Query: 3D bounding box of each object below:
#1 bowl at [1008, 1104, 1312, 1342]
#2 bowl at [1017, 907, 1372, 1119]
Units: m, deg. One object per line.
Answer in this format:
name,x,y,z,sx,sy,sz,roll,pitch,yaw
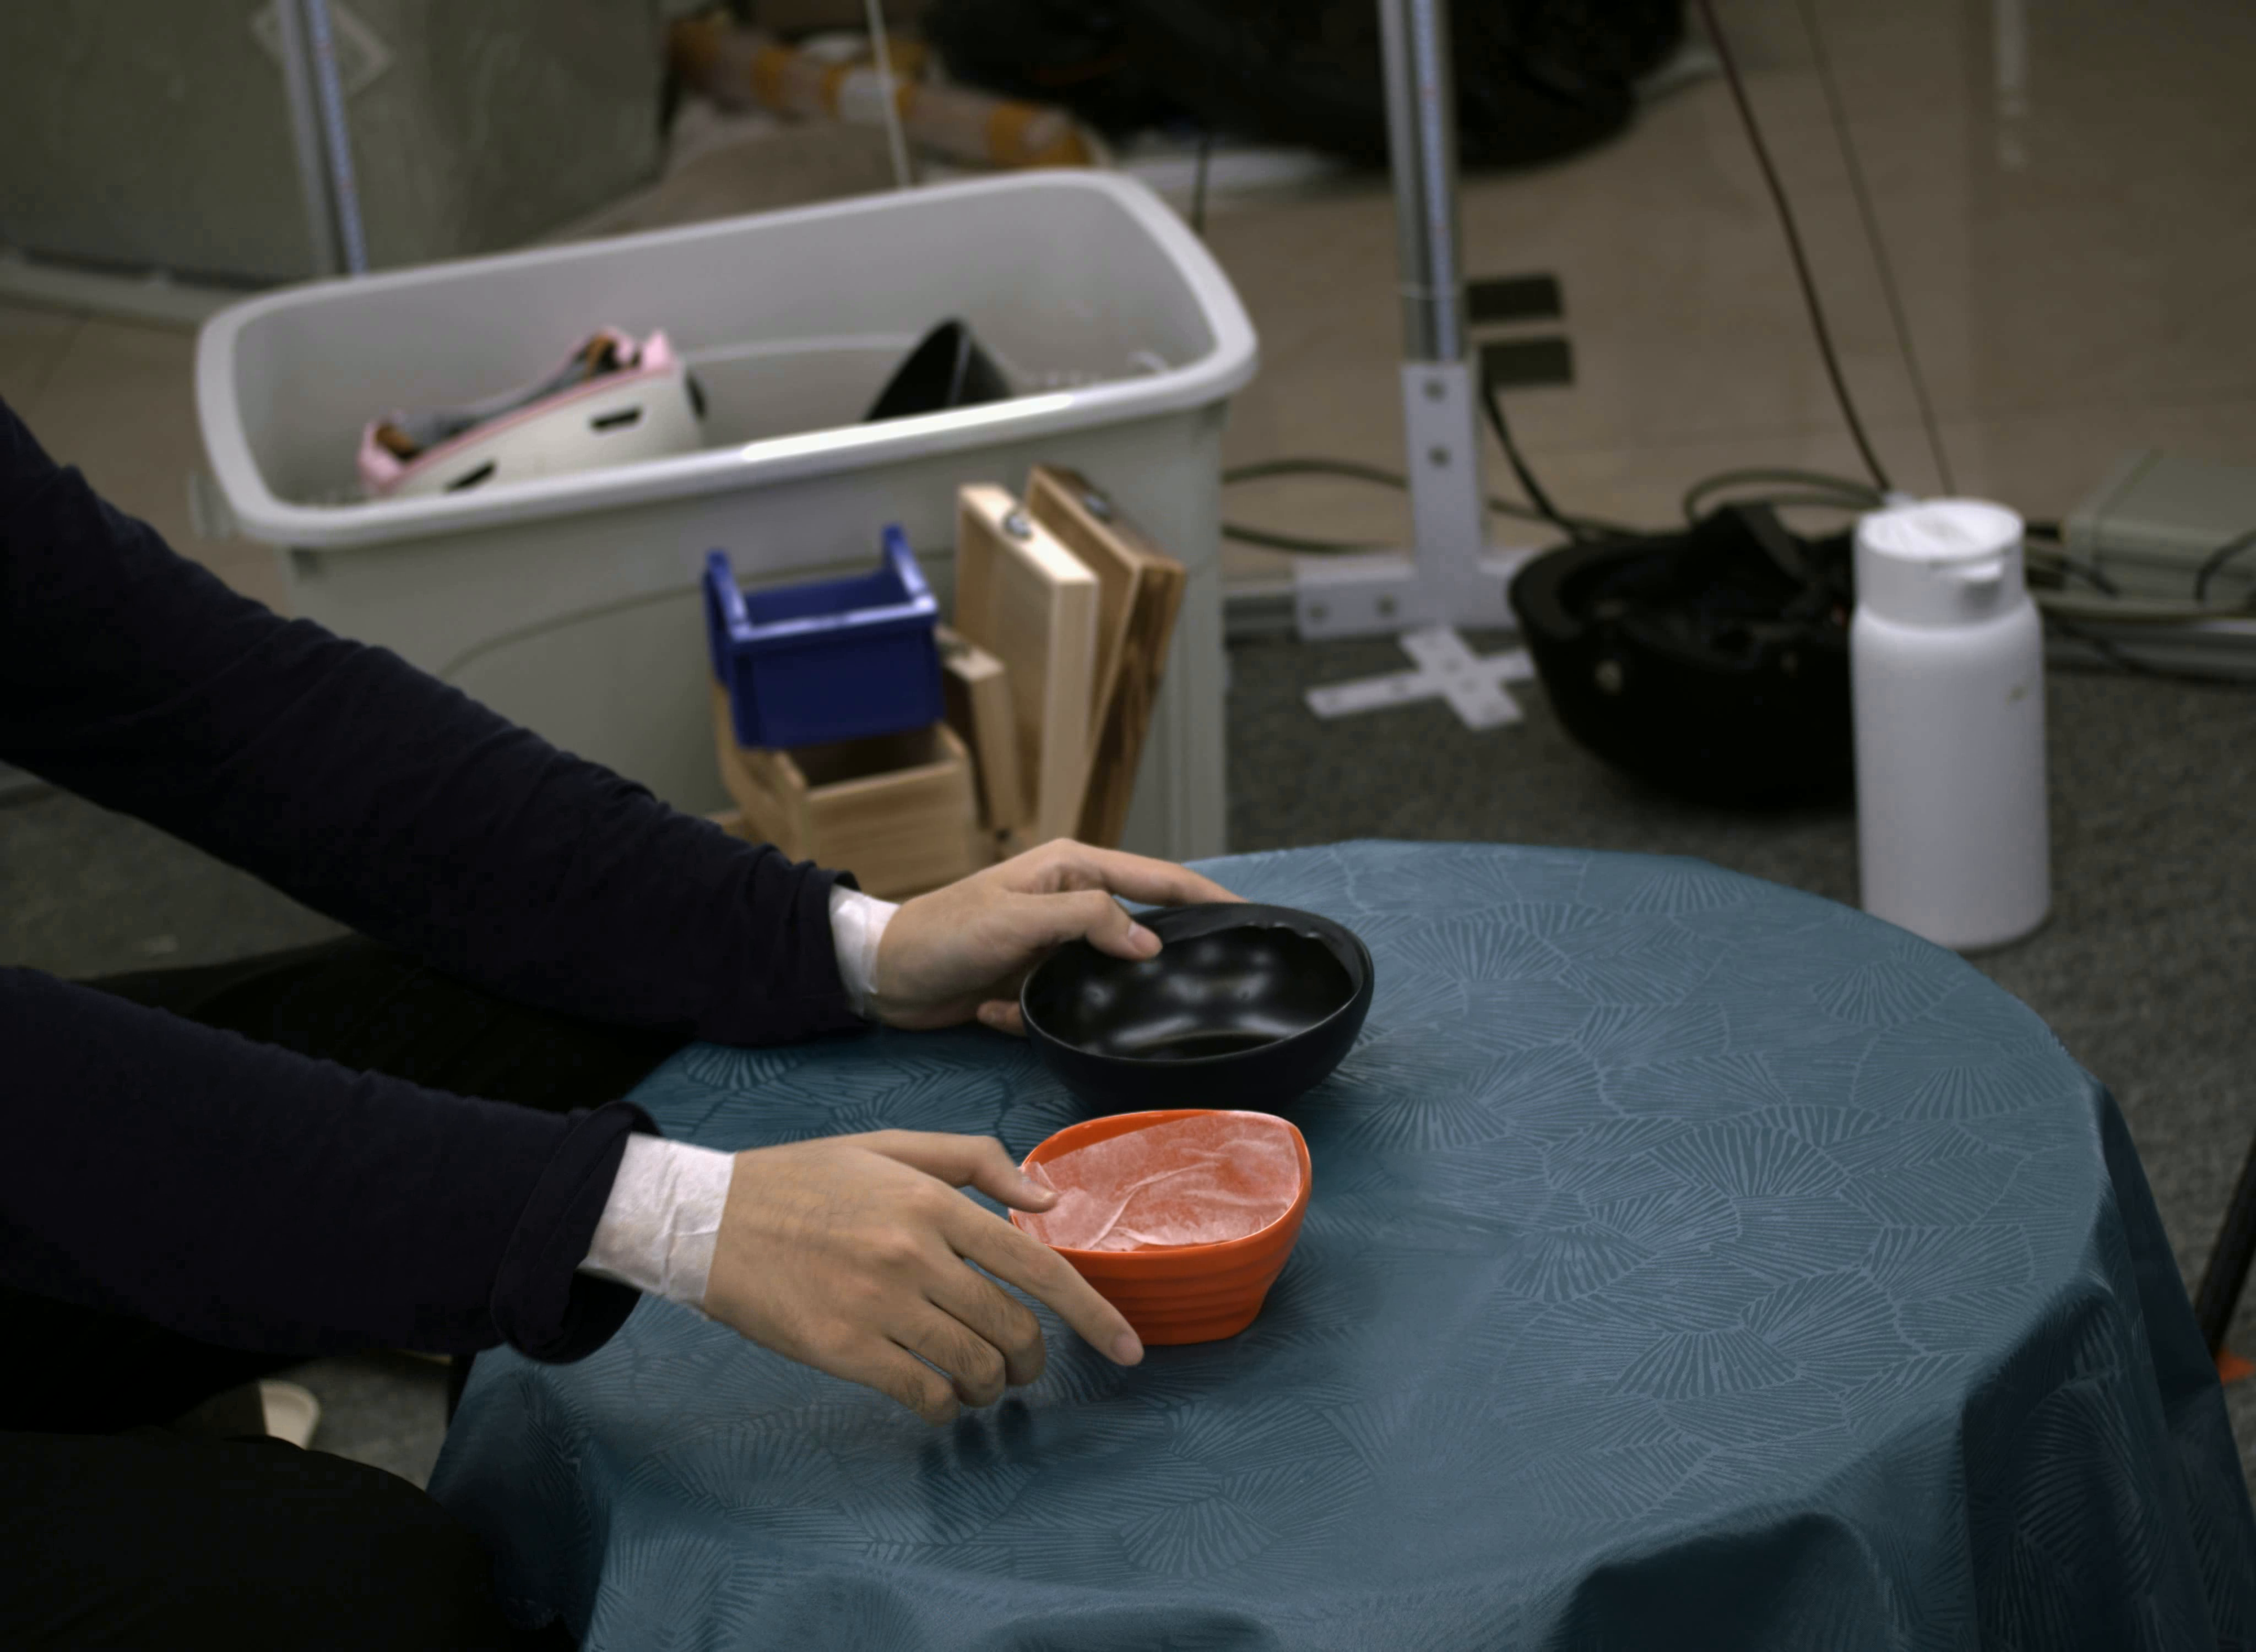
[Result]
bowl,0.013,0.149,2.063,0.119,0.052,0.117,-4,27,2
bowl,0.029,0.083,2.211,0.140,0.050,0.138,-8,24,4
